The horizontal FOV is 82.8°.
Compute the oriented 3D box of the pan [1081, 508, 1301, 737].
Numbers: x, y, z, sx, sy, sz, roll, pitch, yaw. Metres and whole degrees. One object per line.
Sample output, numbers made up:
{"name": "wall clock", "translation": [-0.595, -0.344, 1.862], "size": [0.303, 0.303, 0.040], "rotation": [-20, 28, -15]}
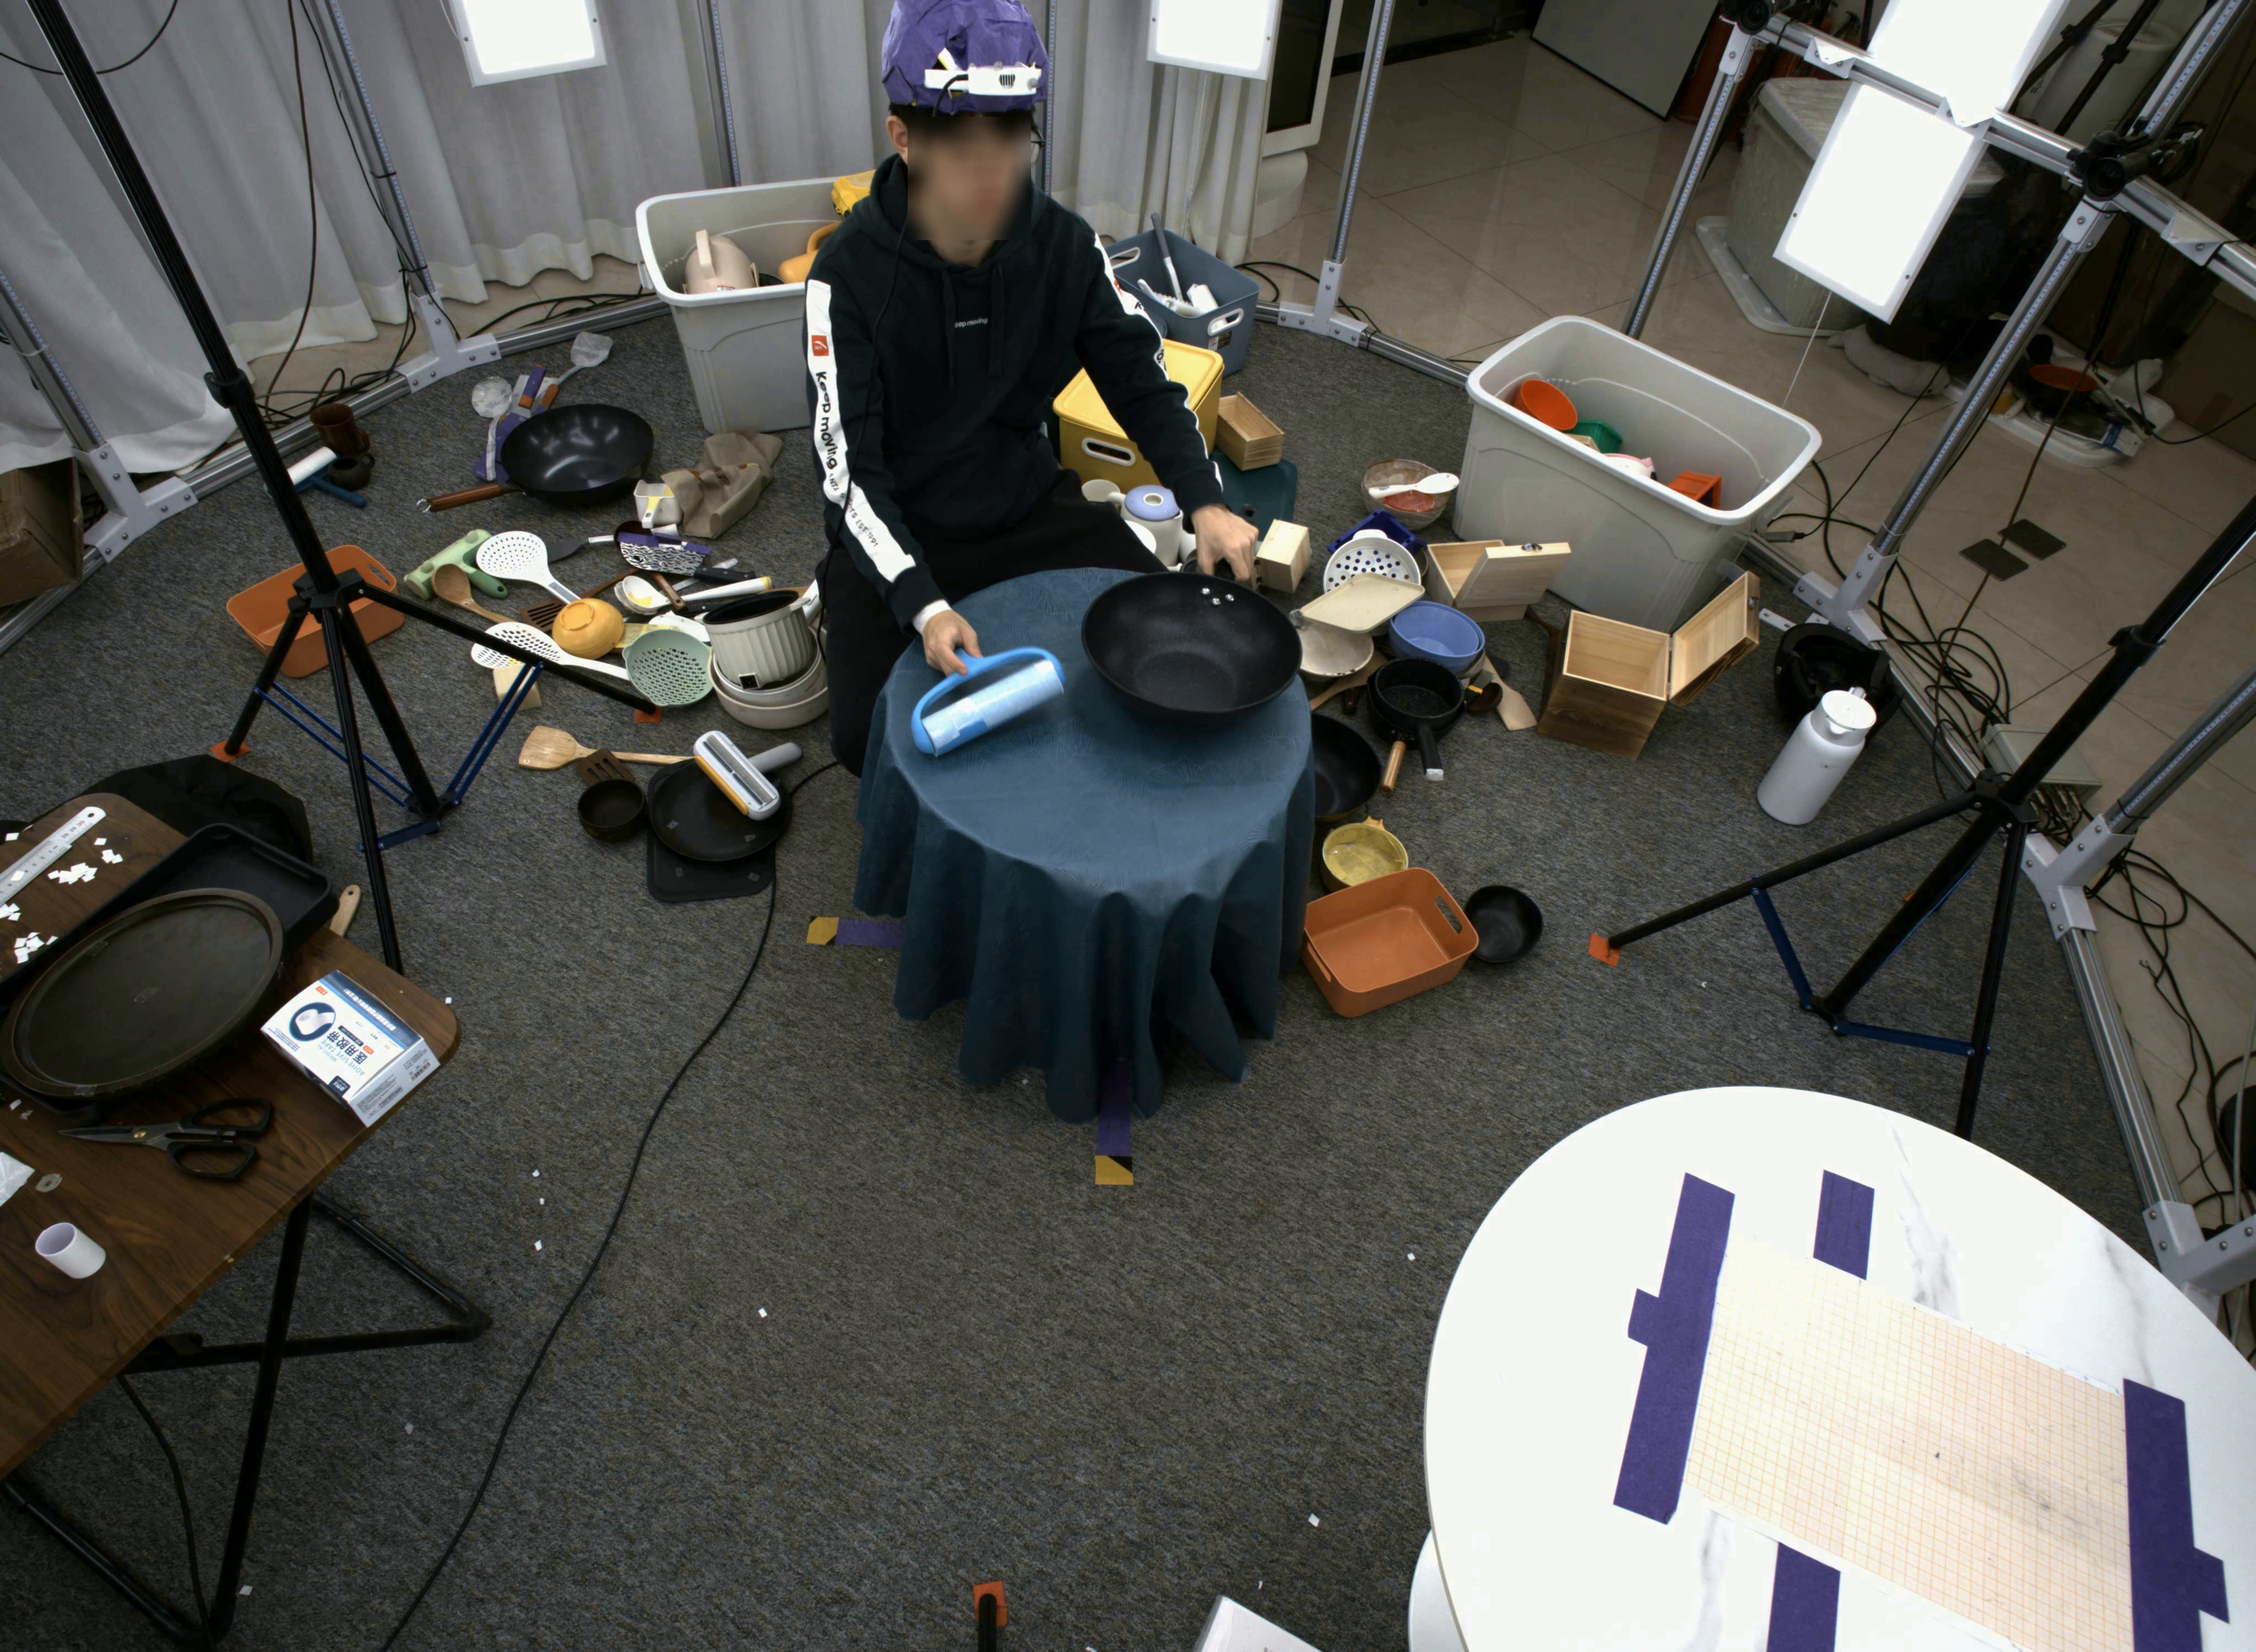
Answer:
{"name": "pan", "translation": [0.111, -0.291, 1.860], "size": [0.311, 0.109, 0.487], "rotation": [17, 47, 8]}

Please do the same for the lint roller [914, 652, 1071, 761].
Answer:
{"name": "lint roller", "translation": [-0.213, -0.195, 1.770], "size": [0.230, 0.066, 0.184], "rotation": [-31, 56, -15]}
